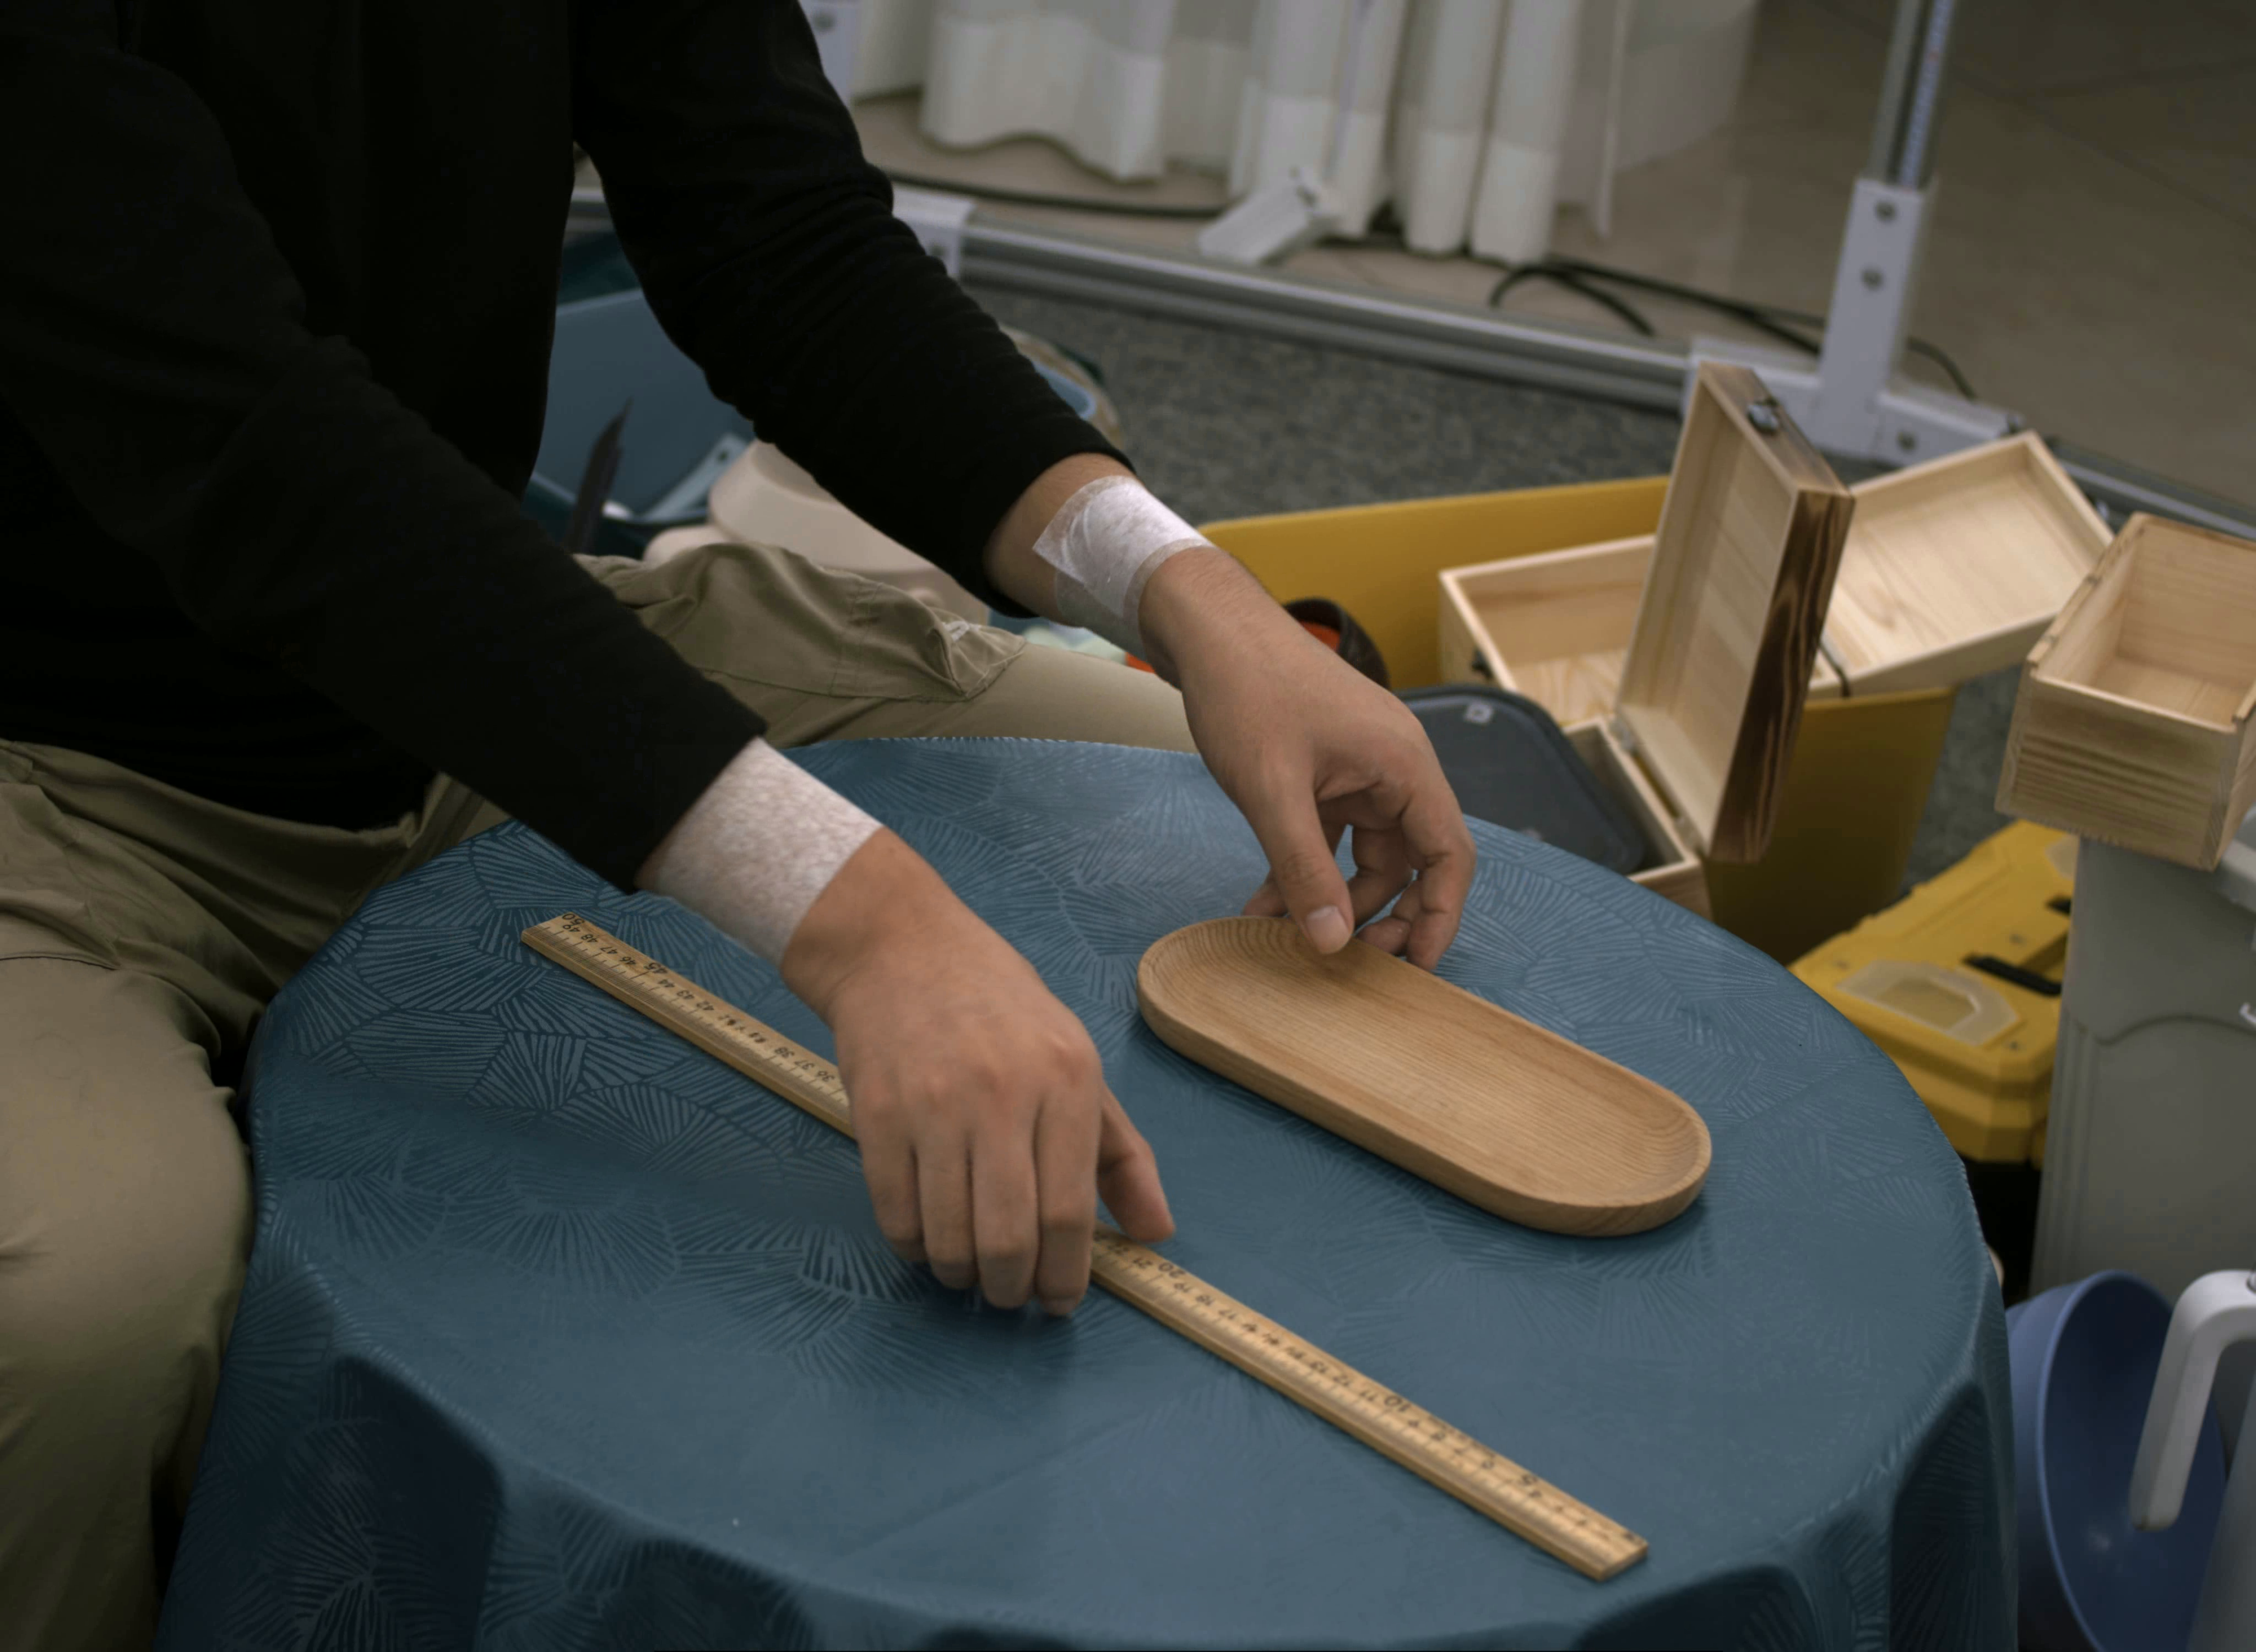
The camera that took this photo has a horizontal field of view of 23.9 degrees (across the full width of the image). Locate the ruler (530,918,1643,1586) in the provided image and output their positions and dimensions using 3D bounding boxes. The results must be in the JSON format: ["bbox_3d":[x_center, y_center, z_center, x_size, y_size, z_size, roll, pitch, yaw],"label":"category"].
[{"bbox_3d":[-0.028,0.132,1.774,0.504,0.006,0.026,28,31,36],"label":"ruler"}]

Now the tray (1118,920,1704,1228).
[{"bbox_3d":[0.098,0.086,1.879,0.232,0.020,0.101,23,30,32],"label":"tray"}]
